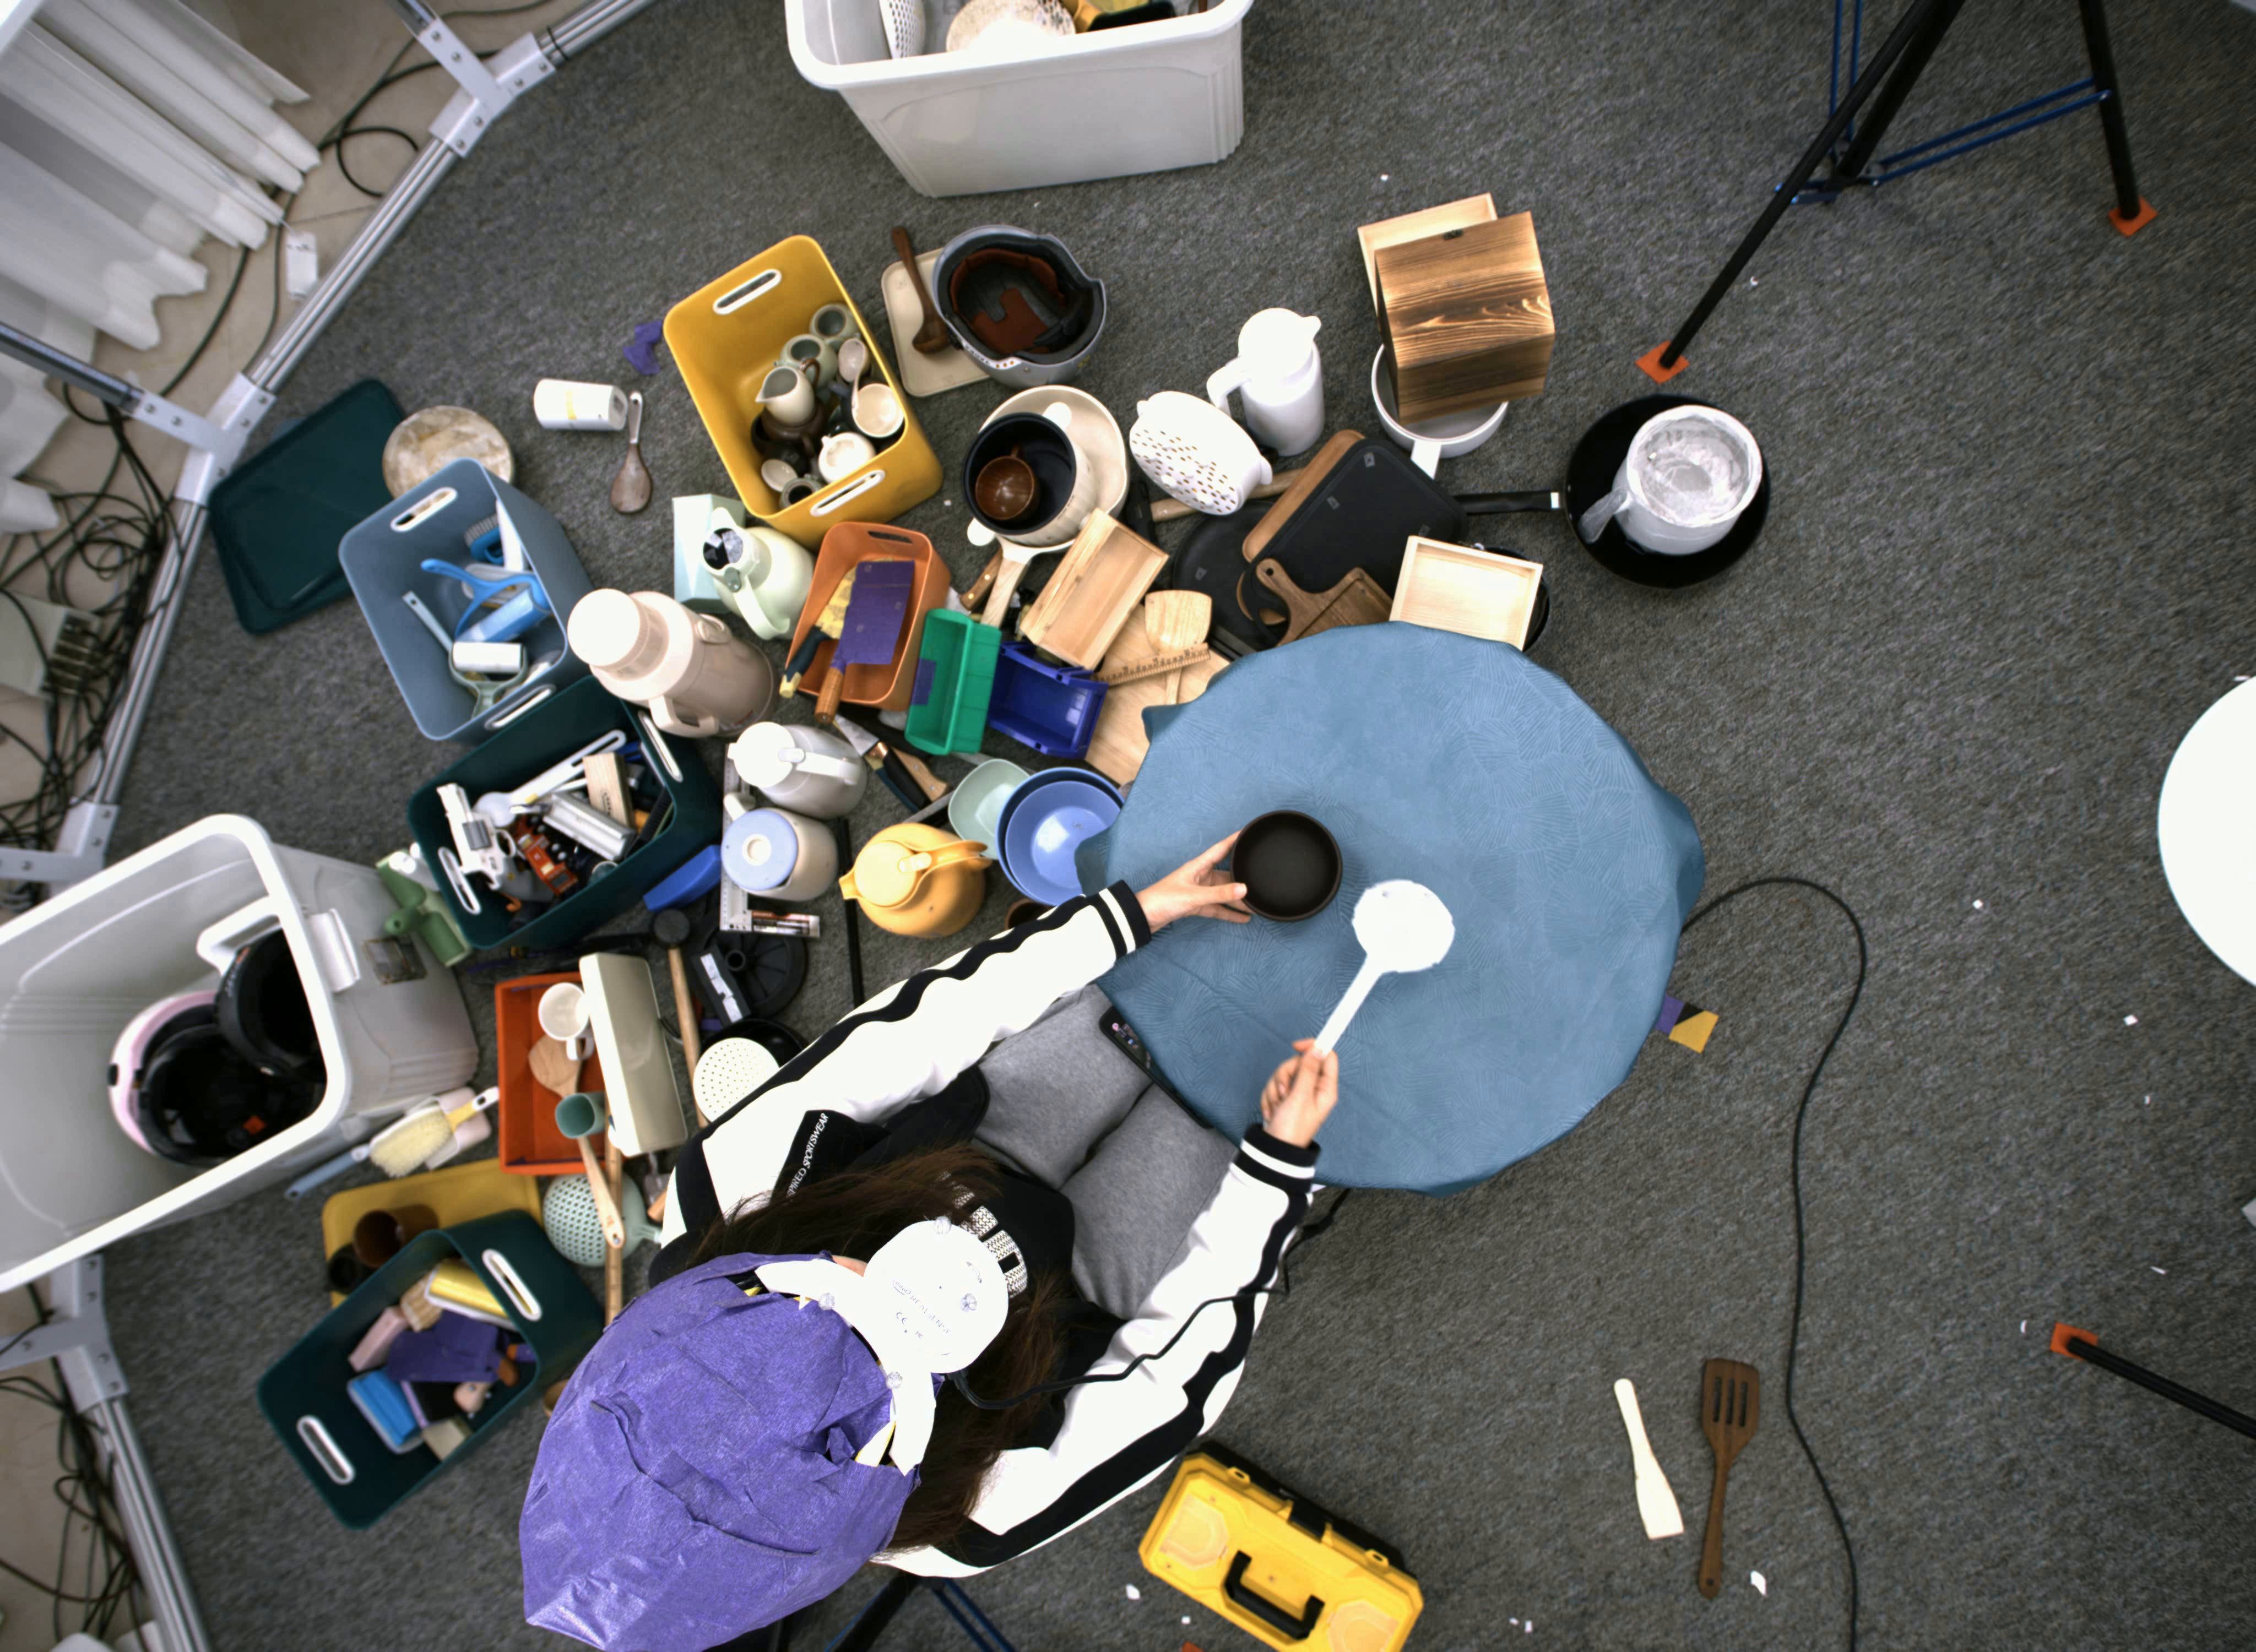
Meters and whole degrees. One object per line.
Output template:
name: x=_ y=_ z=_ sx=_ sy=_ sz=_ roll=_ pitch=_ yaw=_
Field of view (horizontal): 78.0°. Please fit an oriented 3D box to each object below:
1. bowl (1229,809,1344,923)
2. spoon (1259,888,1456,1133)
bowl: x=0.166 y=0.043 z=1.444 sx=0.118 sy=0.070 sz=0.117 roll=-1 pitch=86 yaw=11
spoon: x=0.209 y=0.179 z=1.336 sx=0.100 sy=0.060 sz=0.276 roll=37 pitch=86 yaw=7
